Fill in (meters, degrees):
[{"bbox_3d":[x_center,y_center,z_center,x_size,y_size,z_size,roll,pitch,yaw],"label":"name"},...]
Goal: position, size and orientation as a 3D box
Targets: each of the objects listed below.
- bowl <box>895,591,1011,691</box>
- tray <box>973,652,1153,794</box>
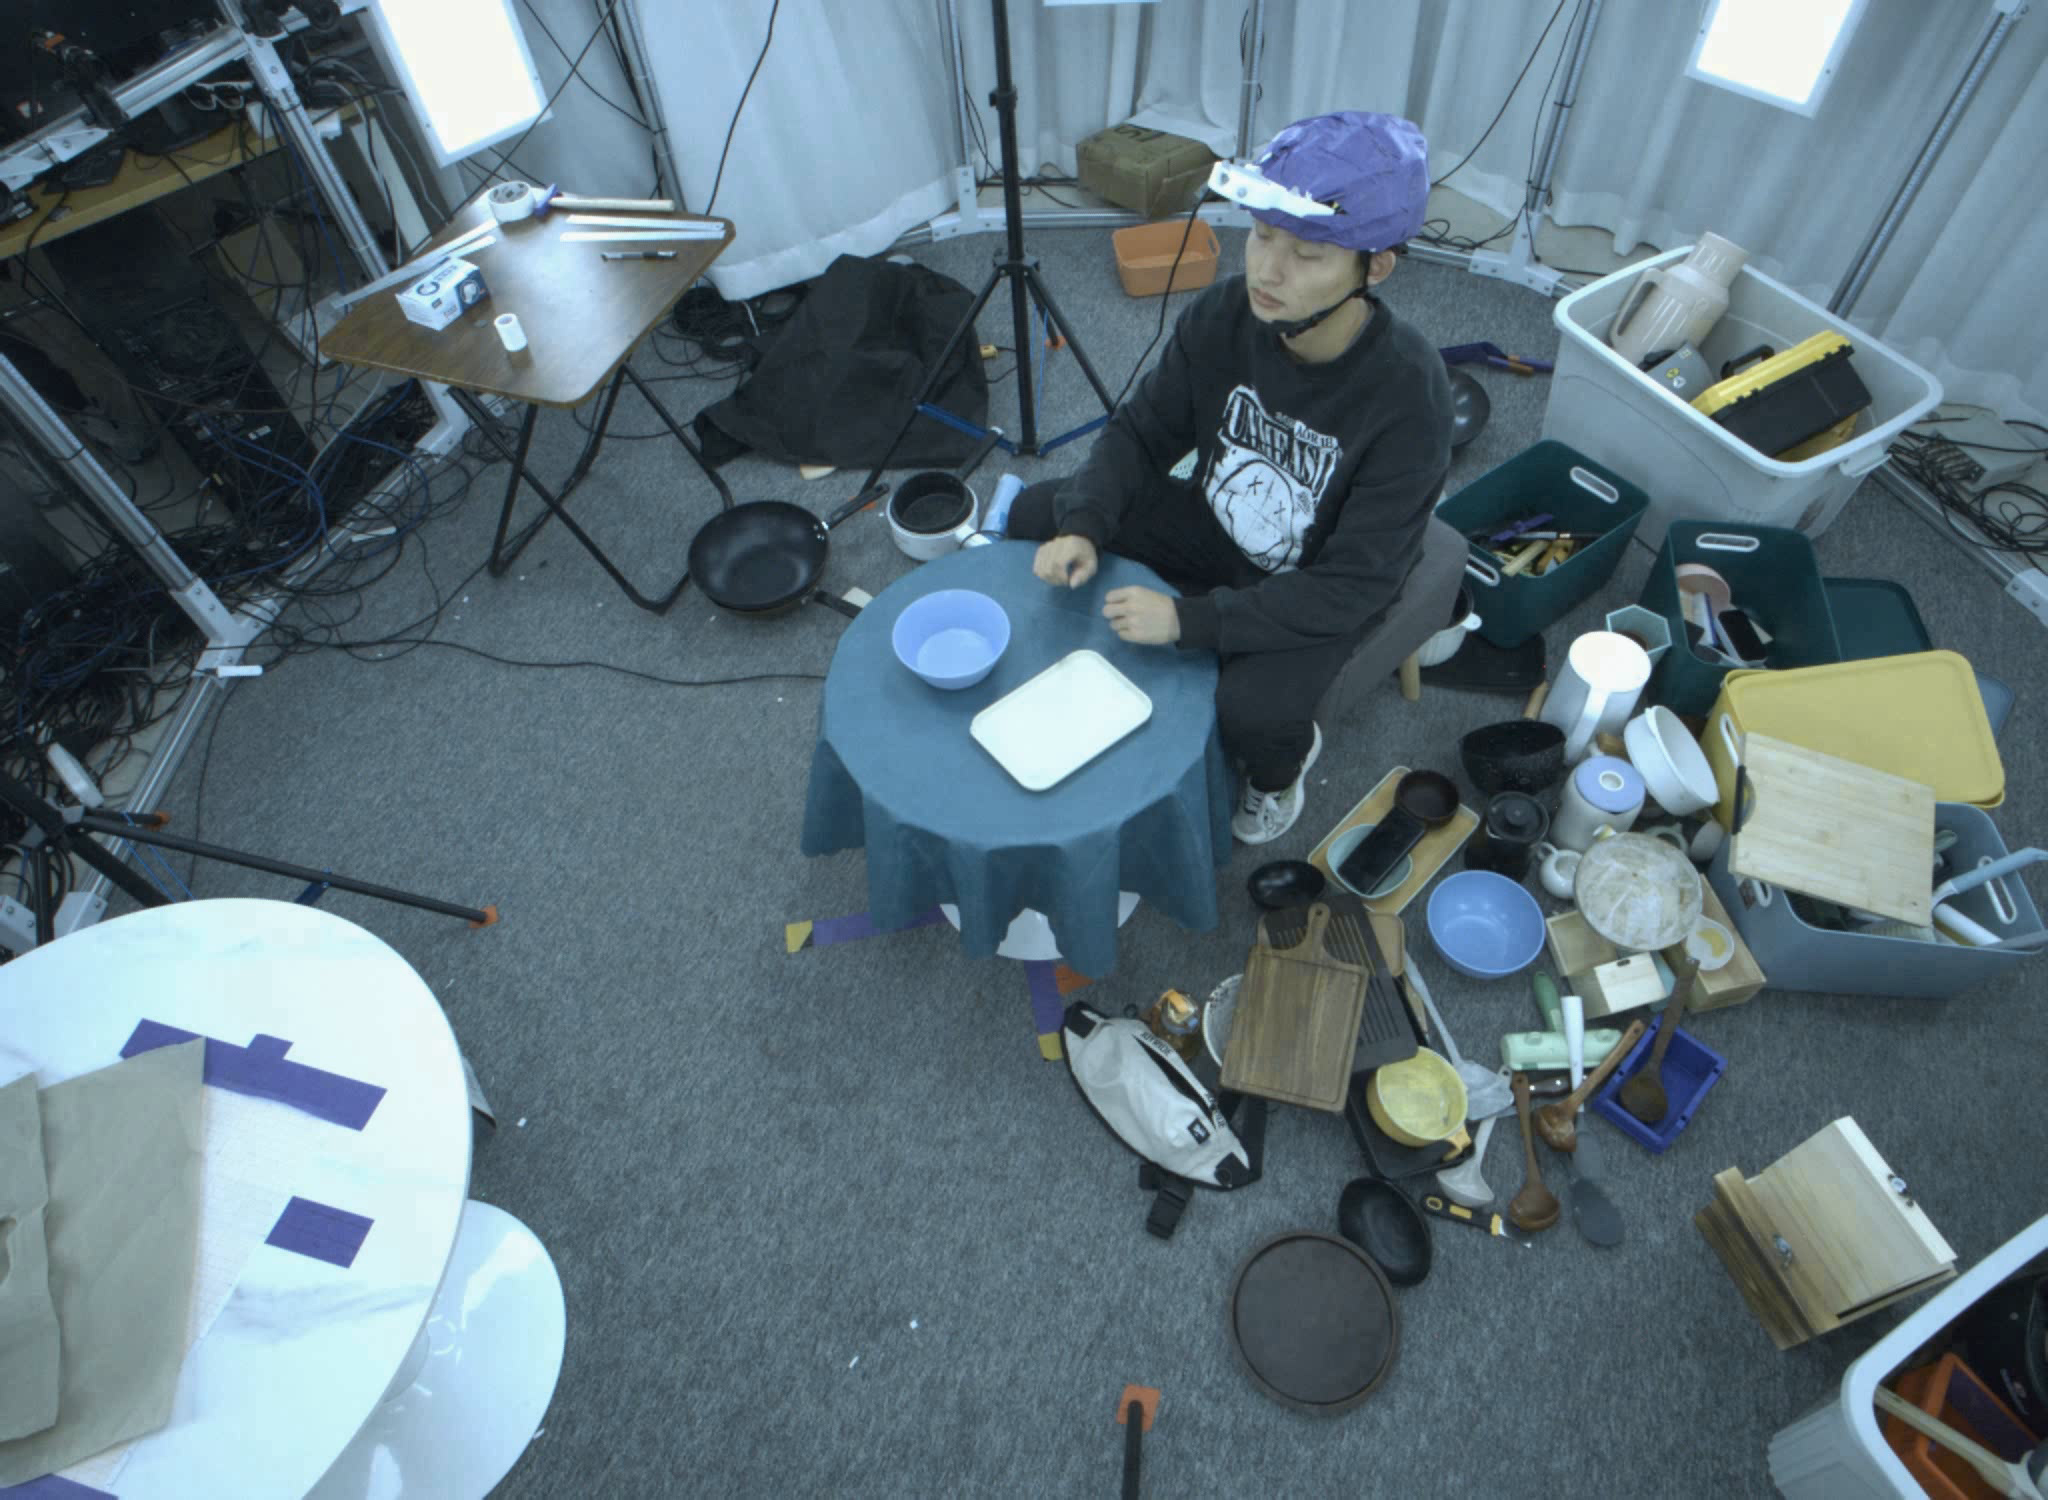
[{"bbox_3d":[-0.105,-0.155,1.866,0.176,0.071,0.174,-1,56,2],"label":"bowl"},{"bbox_3d":[0.058,-0.041,1.814,0.241,0.017,0.168,-34,61,-20],"label":"tray"}]
